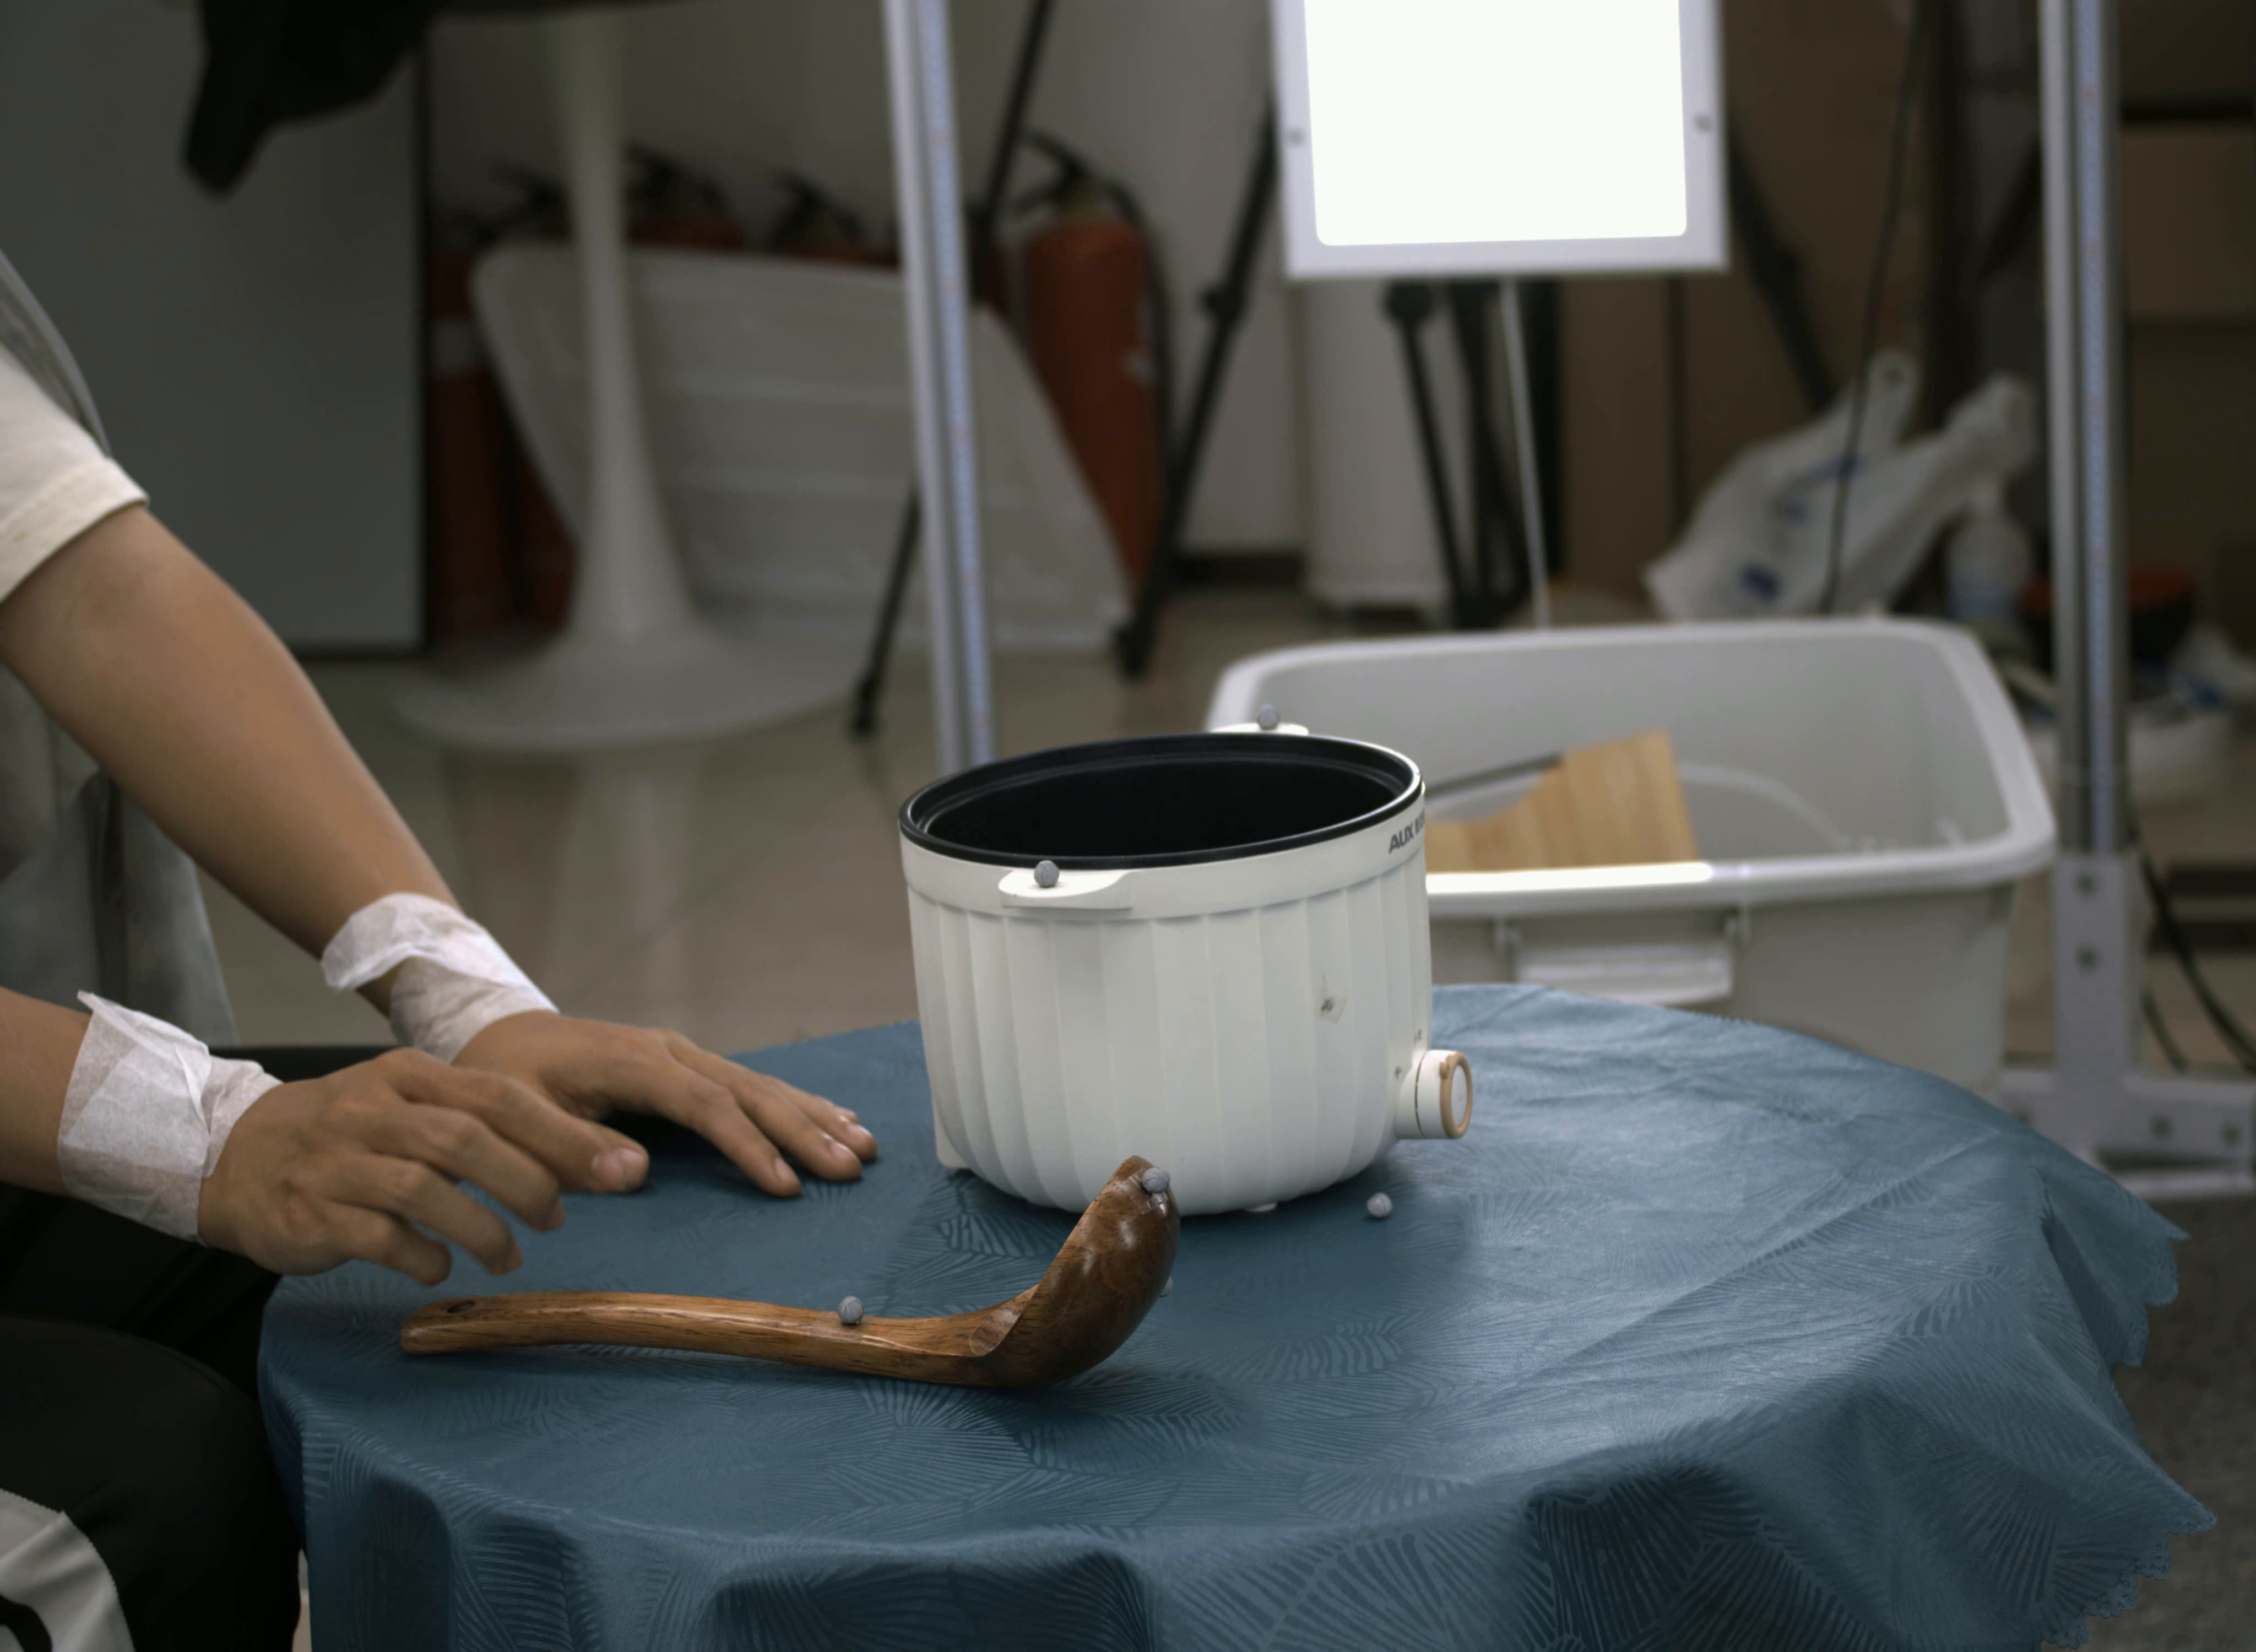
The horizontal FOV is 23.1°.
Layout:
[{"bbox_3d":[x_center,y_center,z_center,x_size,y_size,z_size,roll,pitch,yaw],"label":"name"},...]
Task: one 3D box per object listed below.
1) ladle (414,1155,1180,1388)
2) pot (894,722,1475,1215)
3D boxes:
[{"bbox_3d":[-0.111,0.136,1.739,0.278,0.077,0.080,2,18,26],"label":"ladle"},{"bbox_3d":[0.021,0.052,1.901,0.193,0.143,0.236,-3,15,22],"label":"pot"}]
